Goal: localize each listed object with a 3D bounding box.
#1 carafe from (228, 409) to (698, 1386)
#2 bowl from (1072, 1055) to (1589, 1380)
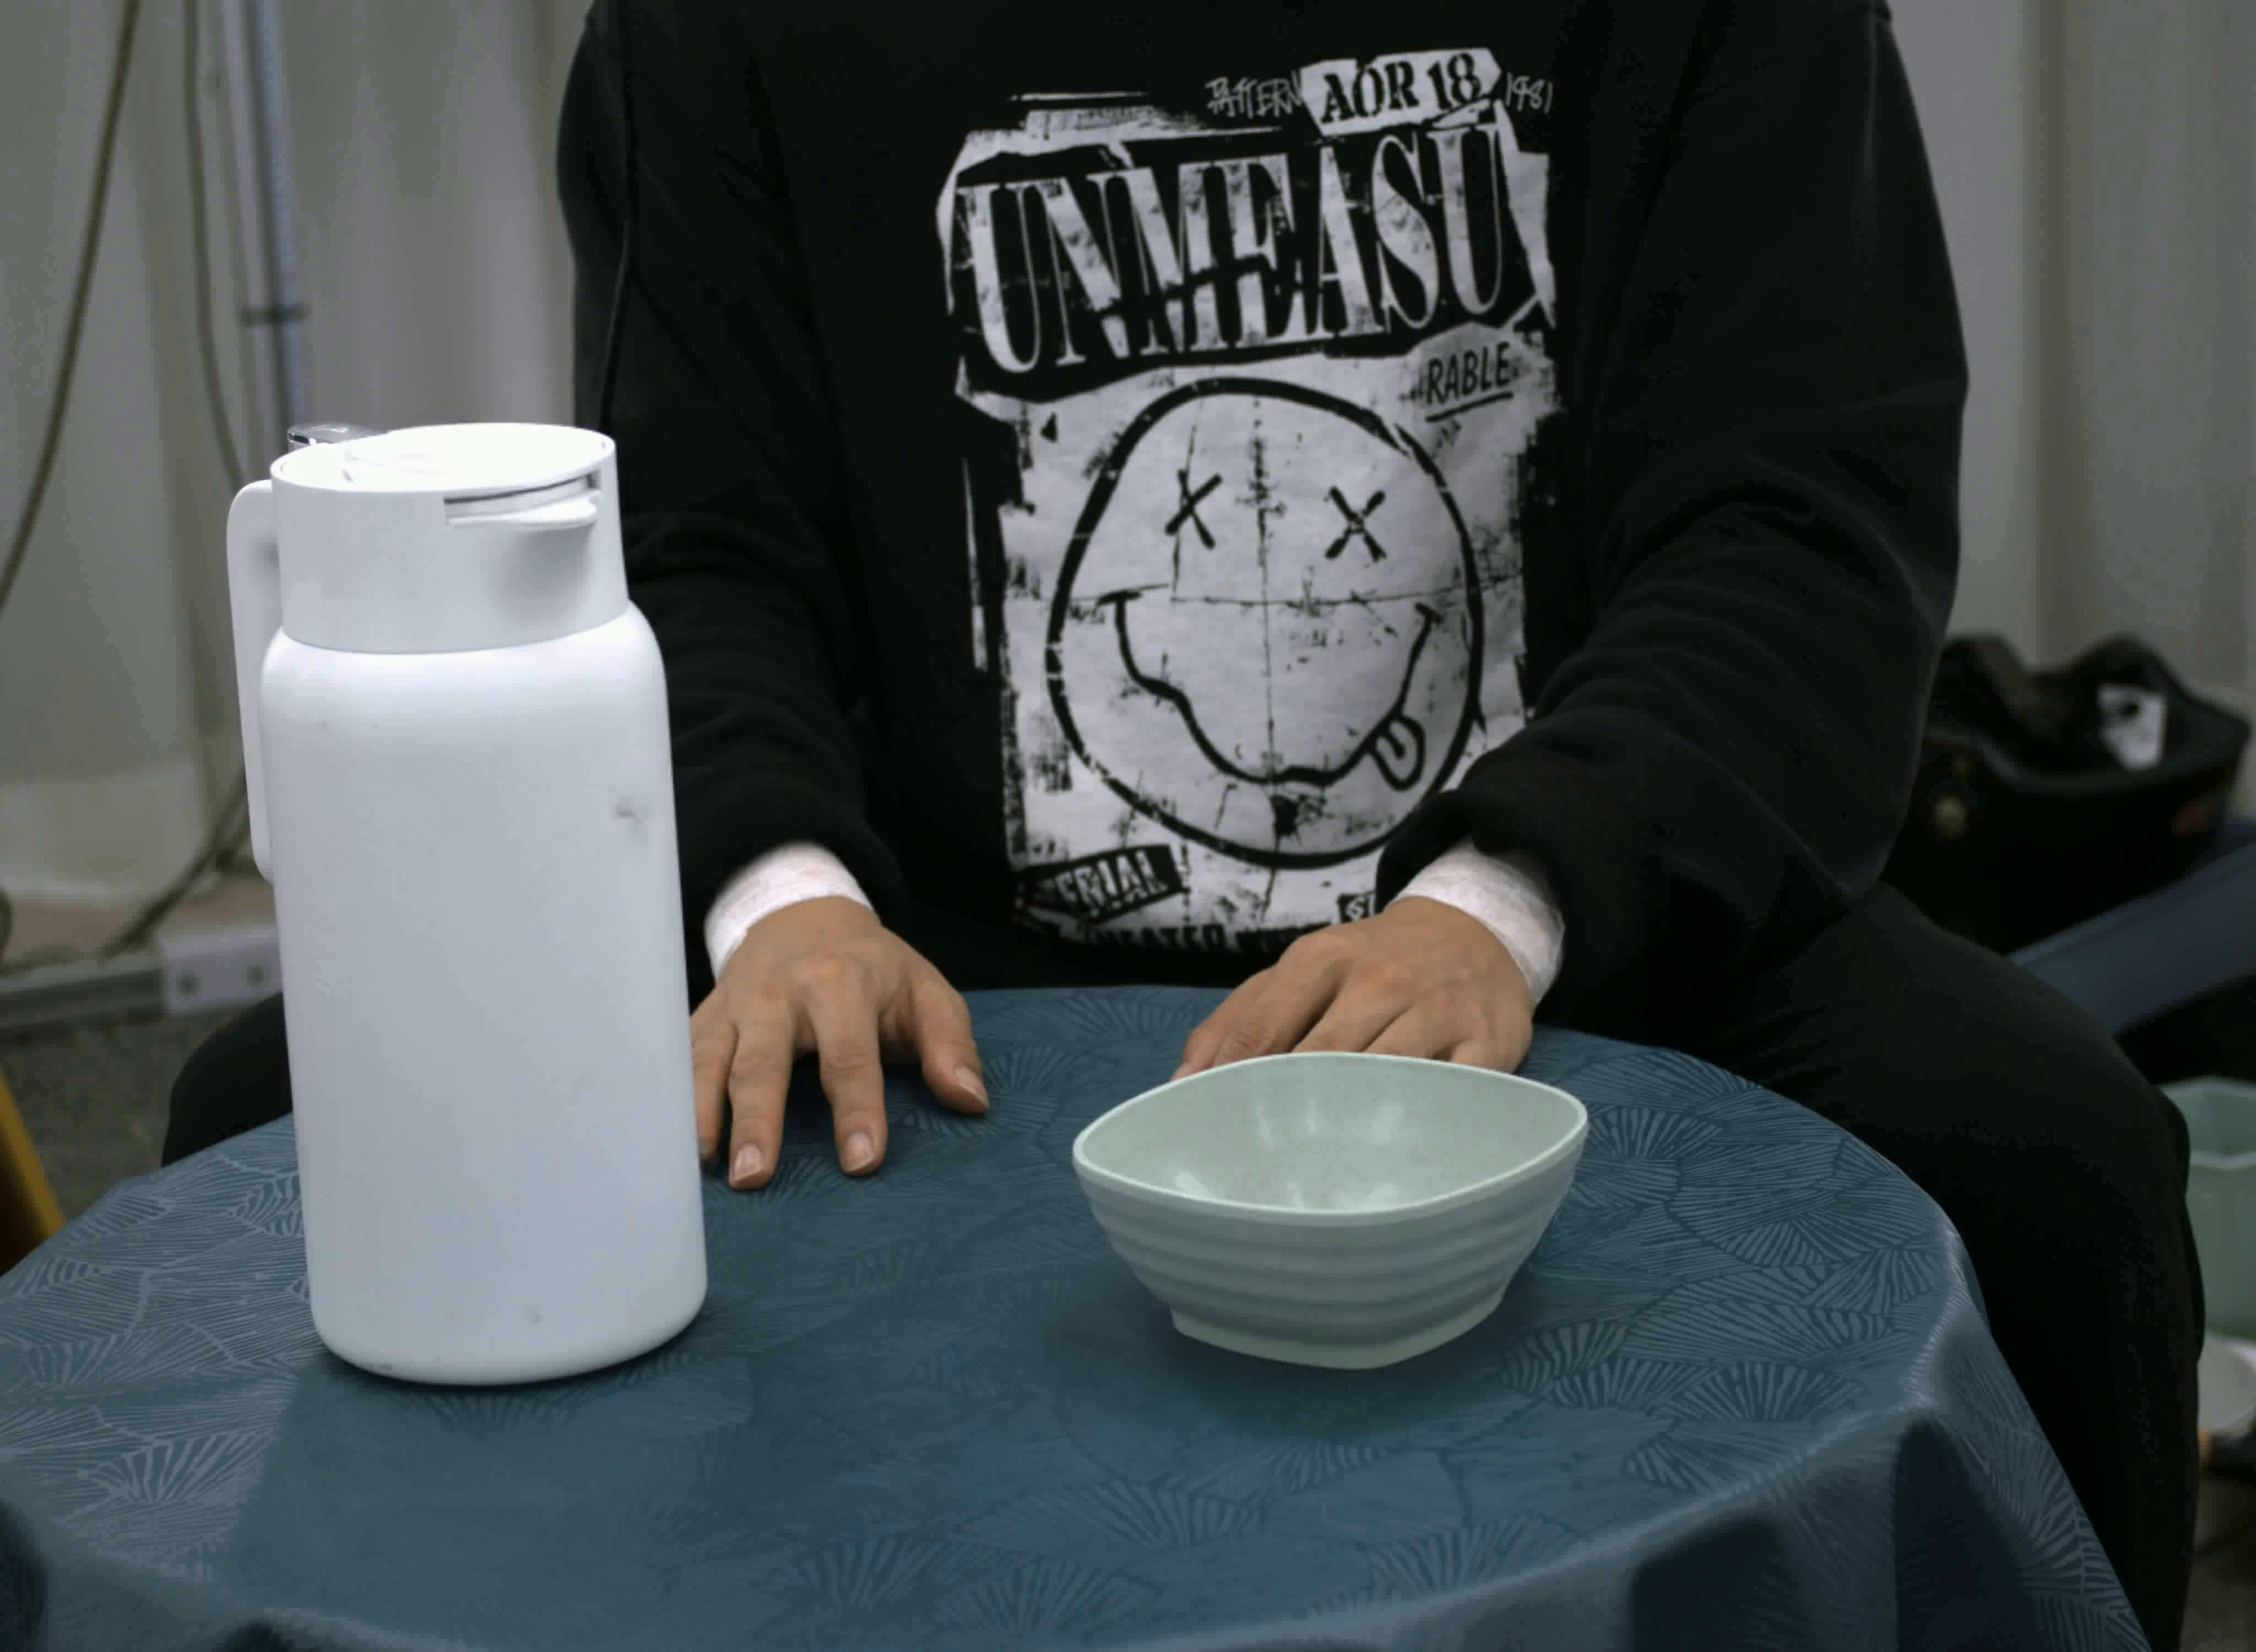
[{"bbox_3d":[-0.201,0.018,1.602,0.123,0.268,0.174,-16,19,-39],"label":"carafe"},{"bbox_3d":[0.060,0.117,1.591,0.151,0.058,0.152,-2,15,0],"label":"bowl"}]
